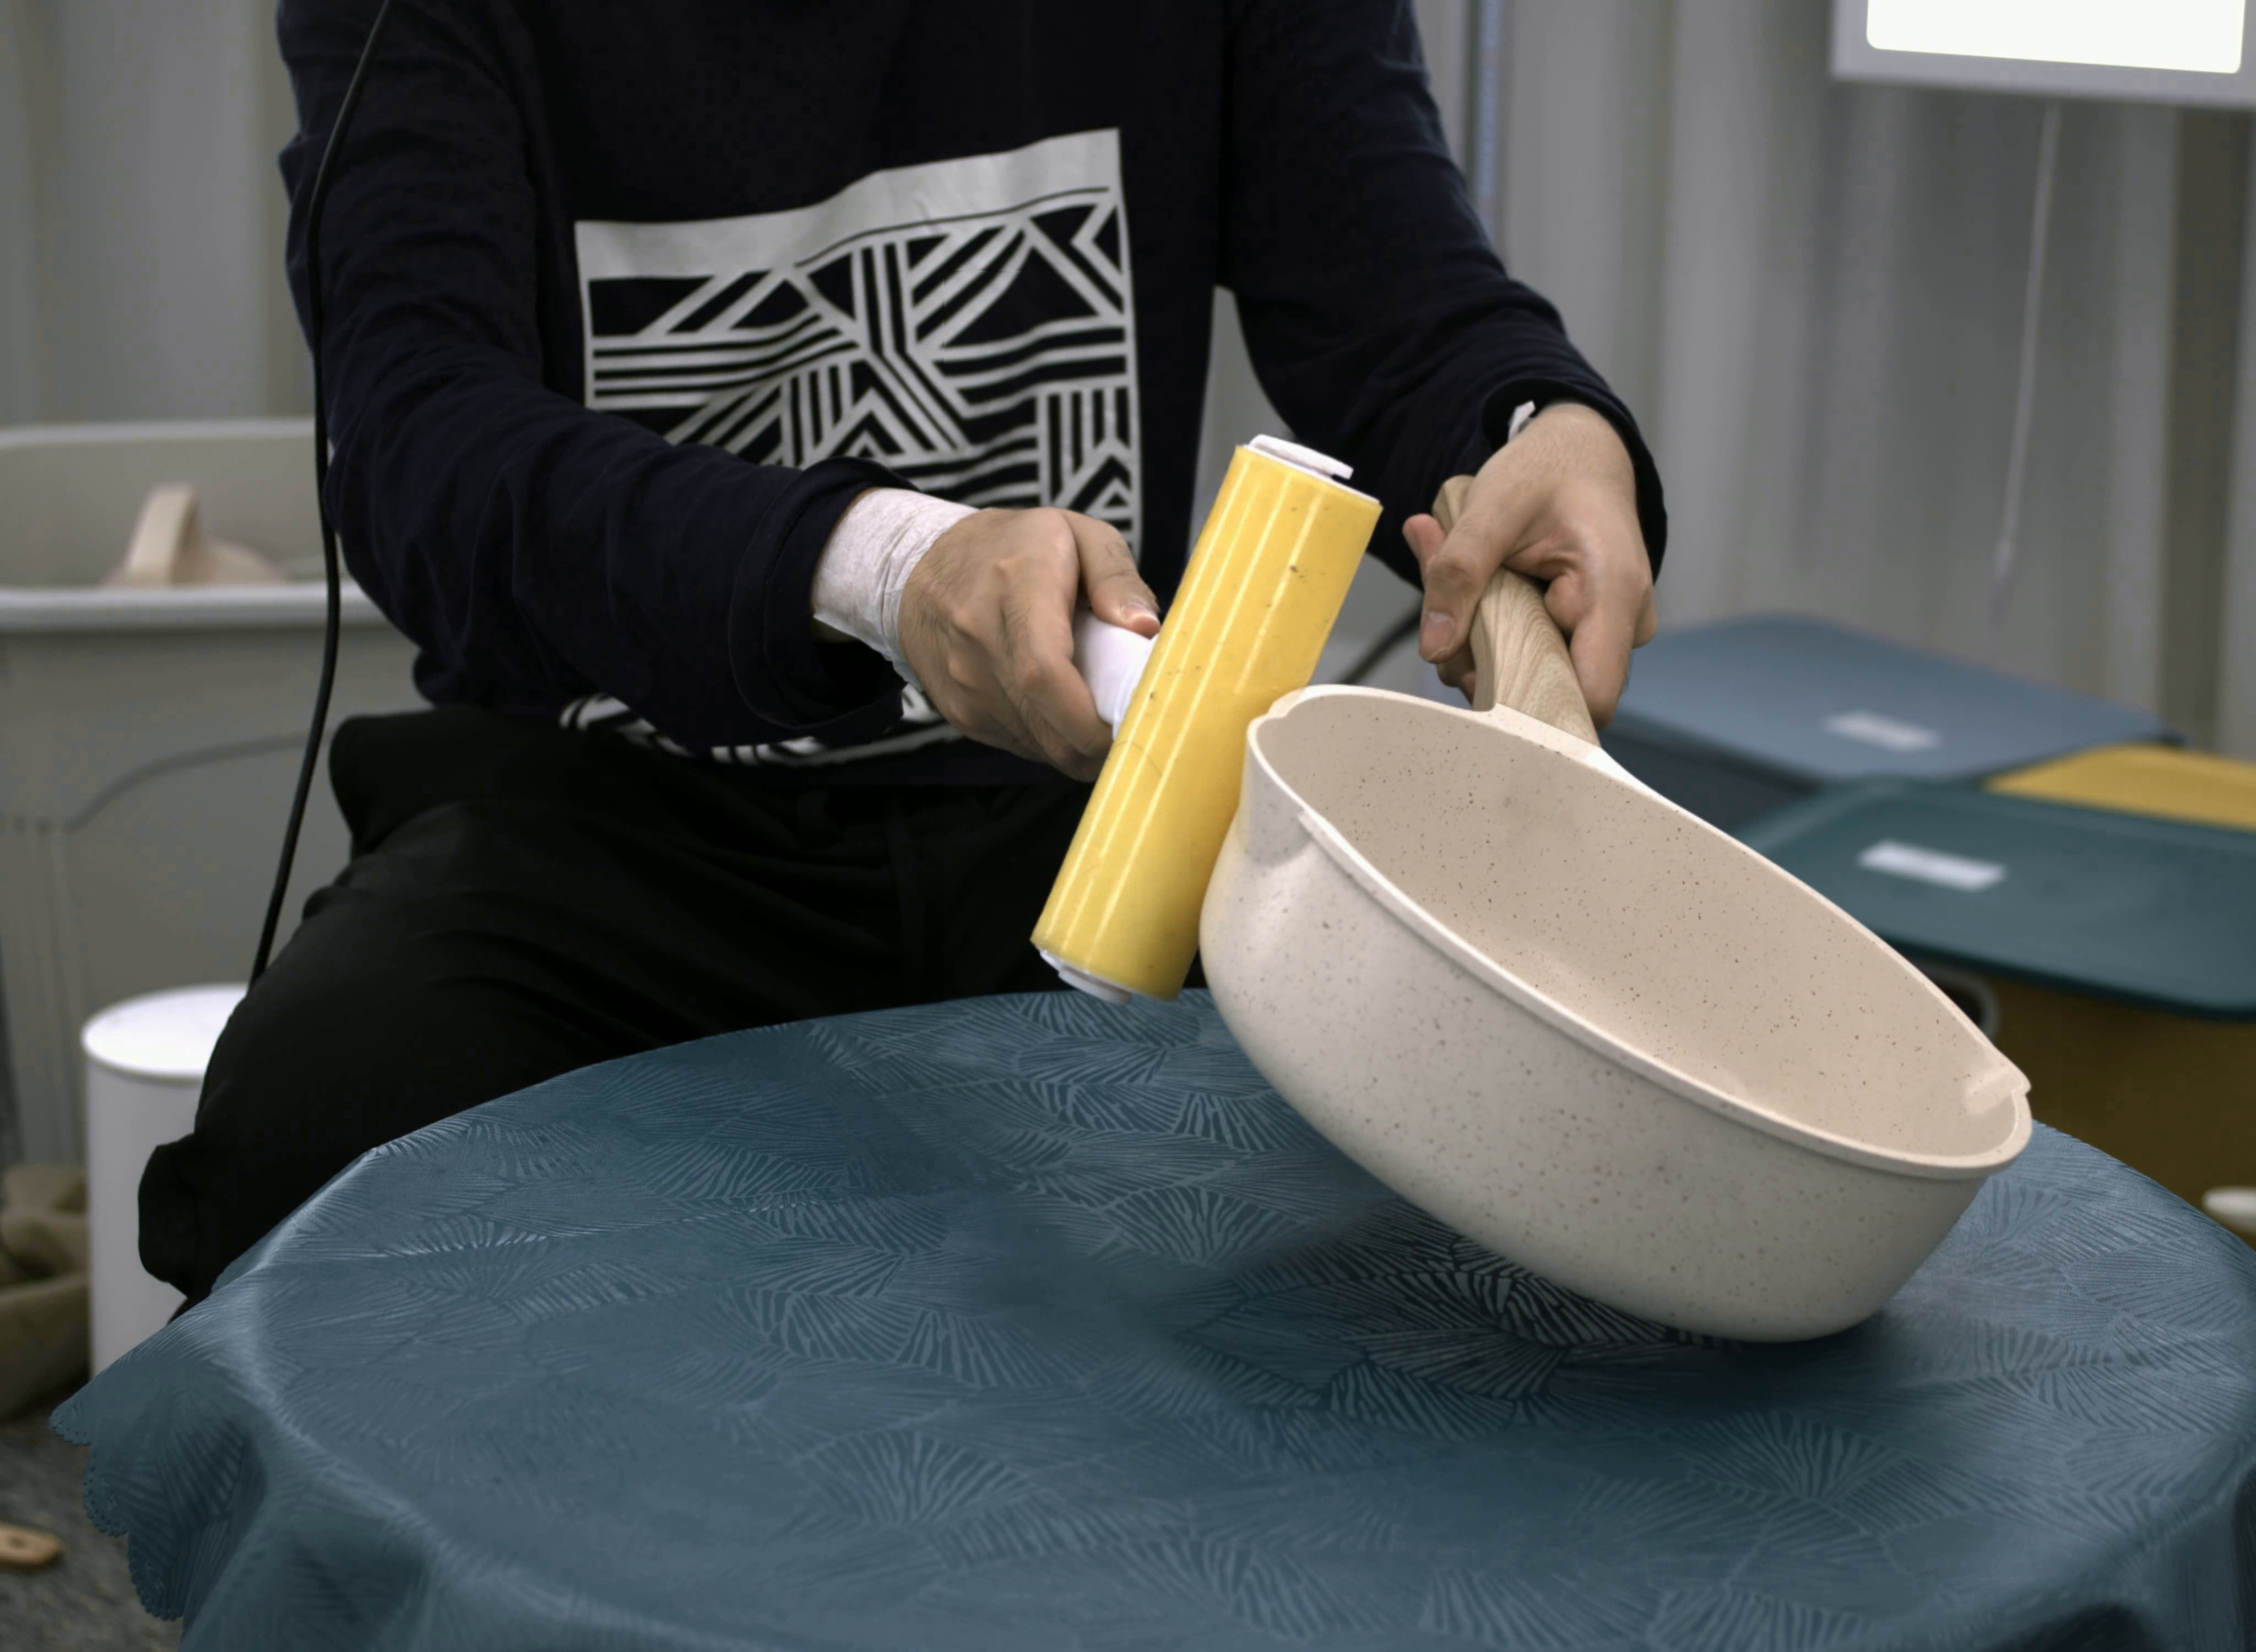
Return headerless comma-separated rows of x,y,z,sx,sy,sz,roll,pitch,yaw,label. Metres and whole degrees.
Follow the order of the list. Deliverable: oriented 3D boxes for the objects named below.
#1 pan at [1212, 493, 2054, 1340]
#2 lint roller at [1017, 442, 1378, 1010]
0.127,0.018,1.606,0.264,0.102,0.430,20,19,-17,pan
-0.007,-0.044,1.620,0.052,0.175,0.190,21,3,-28,lint roller
